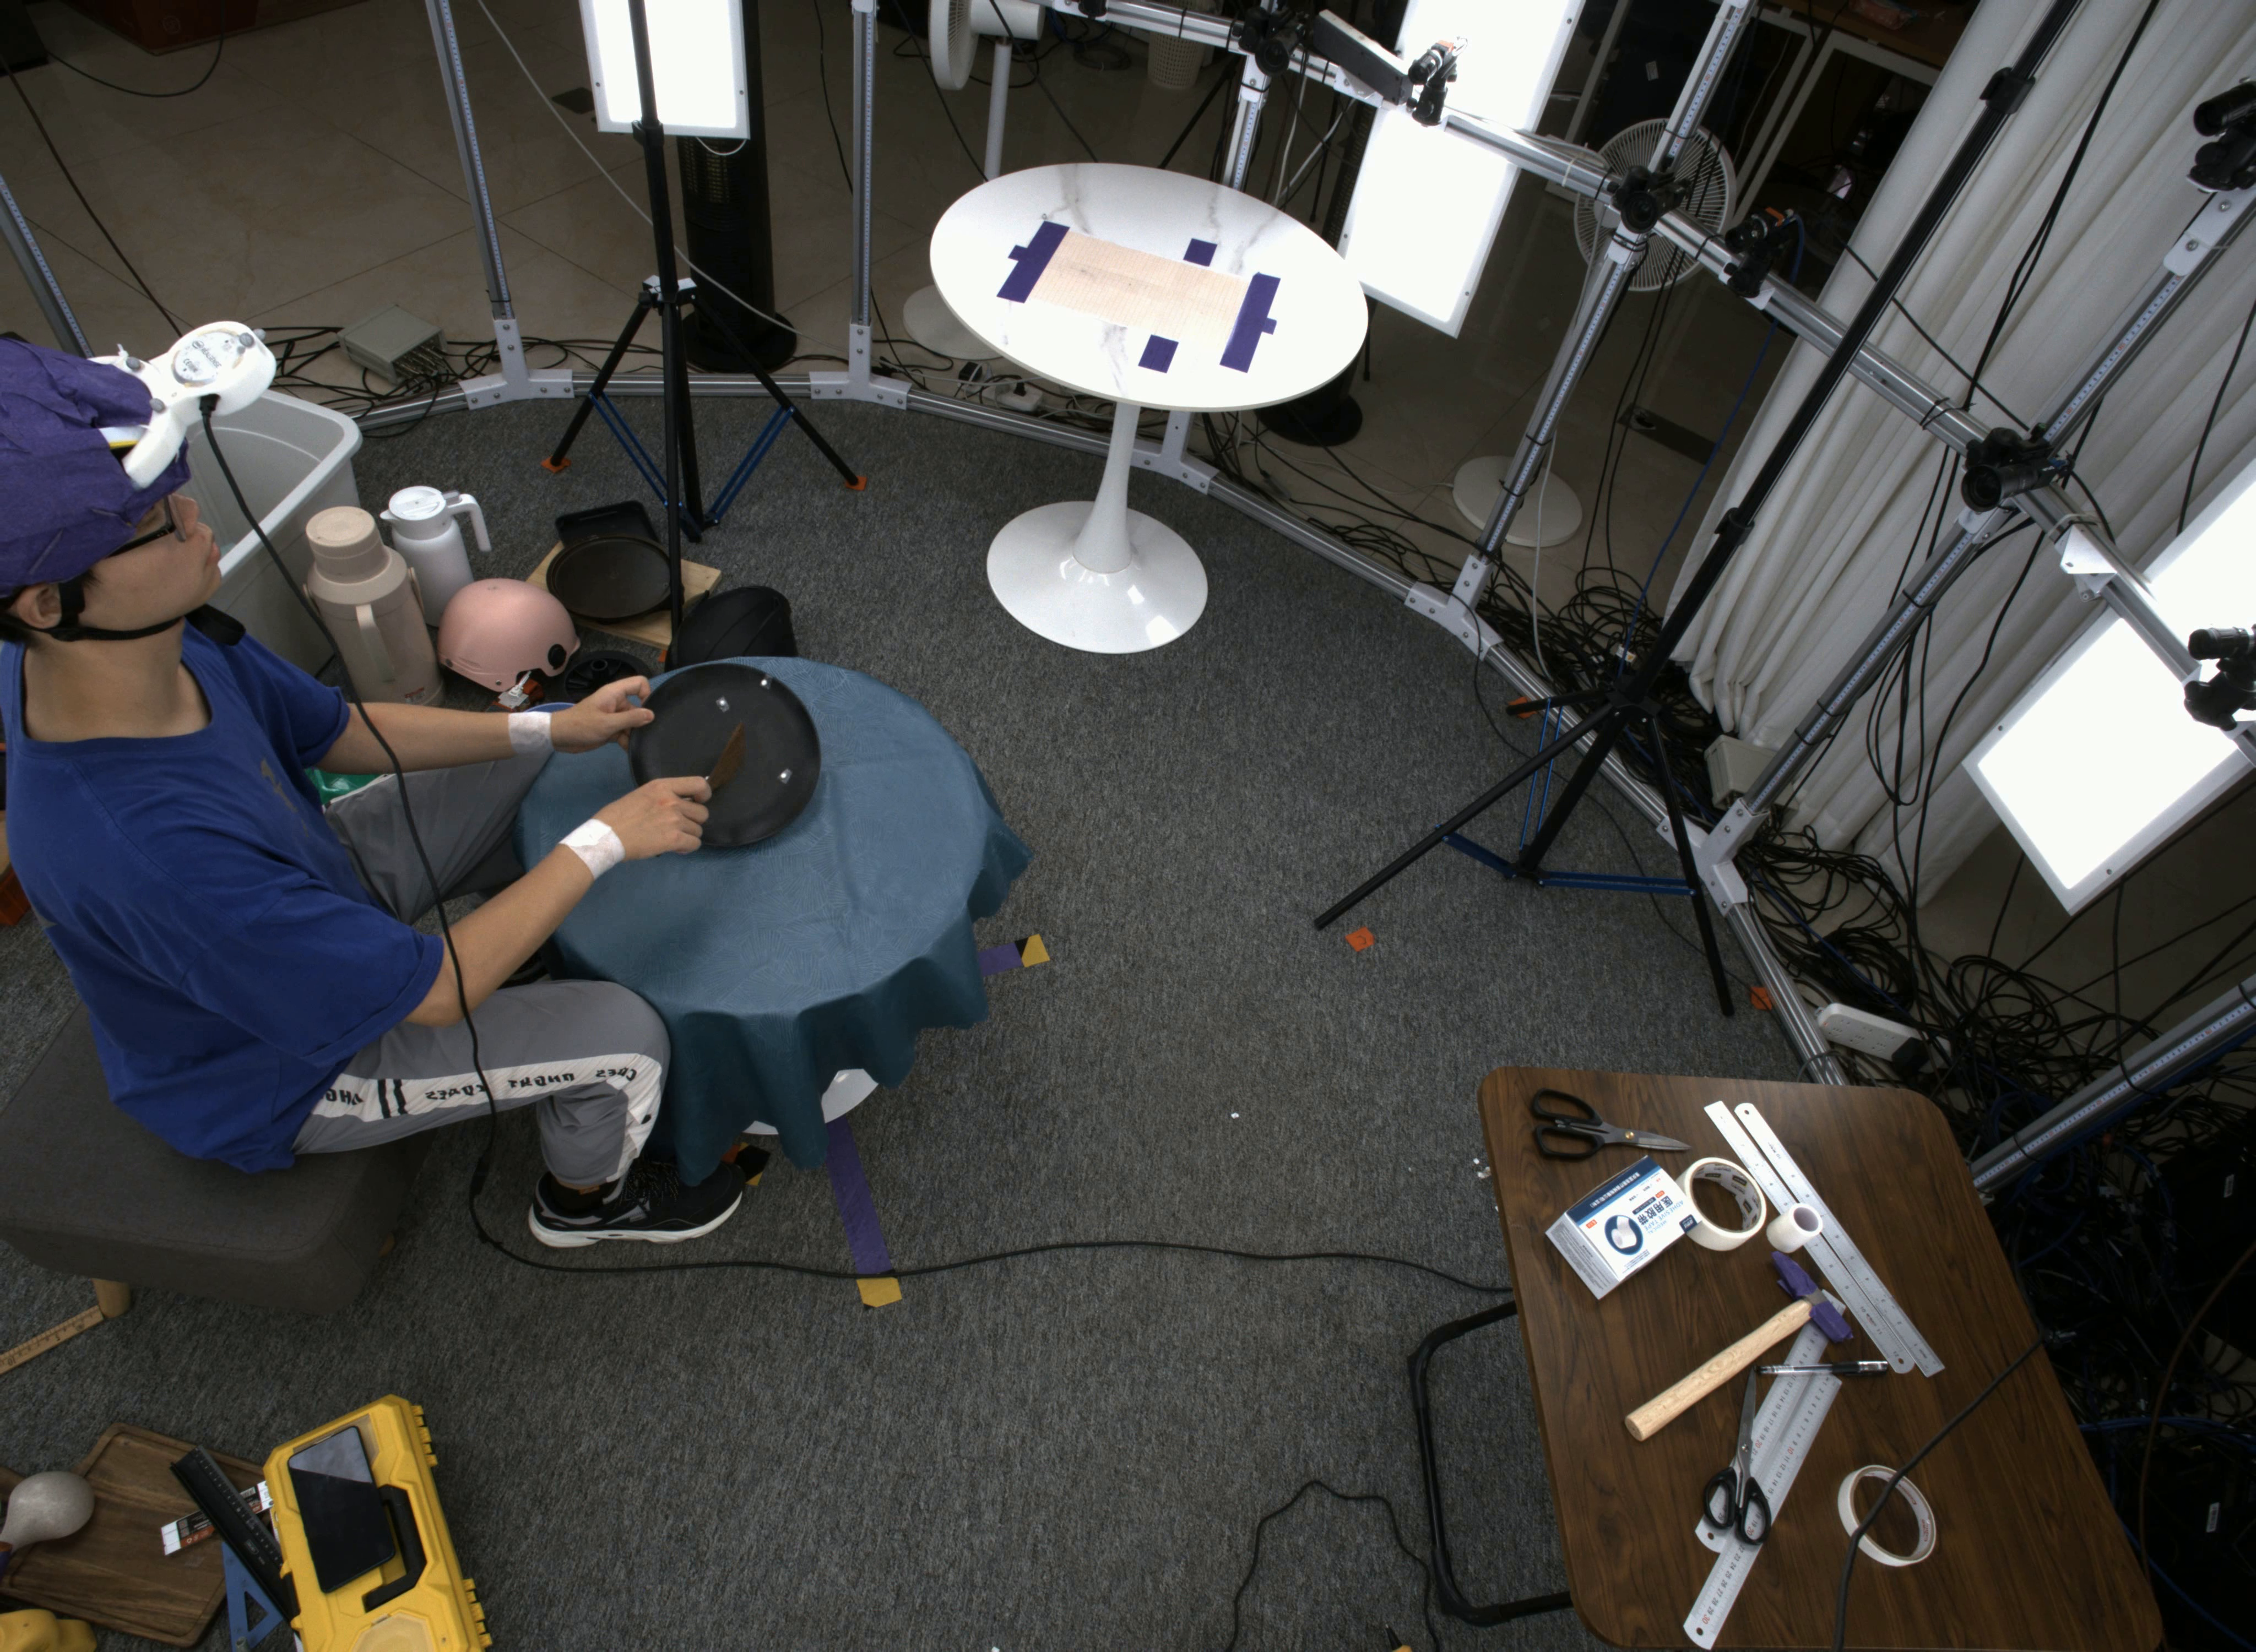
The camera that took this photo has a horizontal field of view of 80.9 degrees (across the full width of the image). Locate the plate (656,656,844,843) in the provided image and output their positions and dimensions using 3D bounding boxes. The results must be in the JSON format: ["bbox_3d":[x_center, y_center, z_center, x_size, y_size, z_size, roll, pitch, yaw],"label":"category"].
[{"bbox_3d":[-0.497,-0.100,1.702,0.247,0.023,0.246,3,85,-22],"label":"plate"}]

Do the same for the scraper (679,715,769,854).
[{"bbox_3d":[-0.491,-0.048,1.577,0.011,0.077,0.209,24,51,3],"label":"scraper"}]
